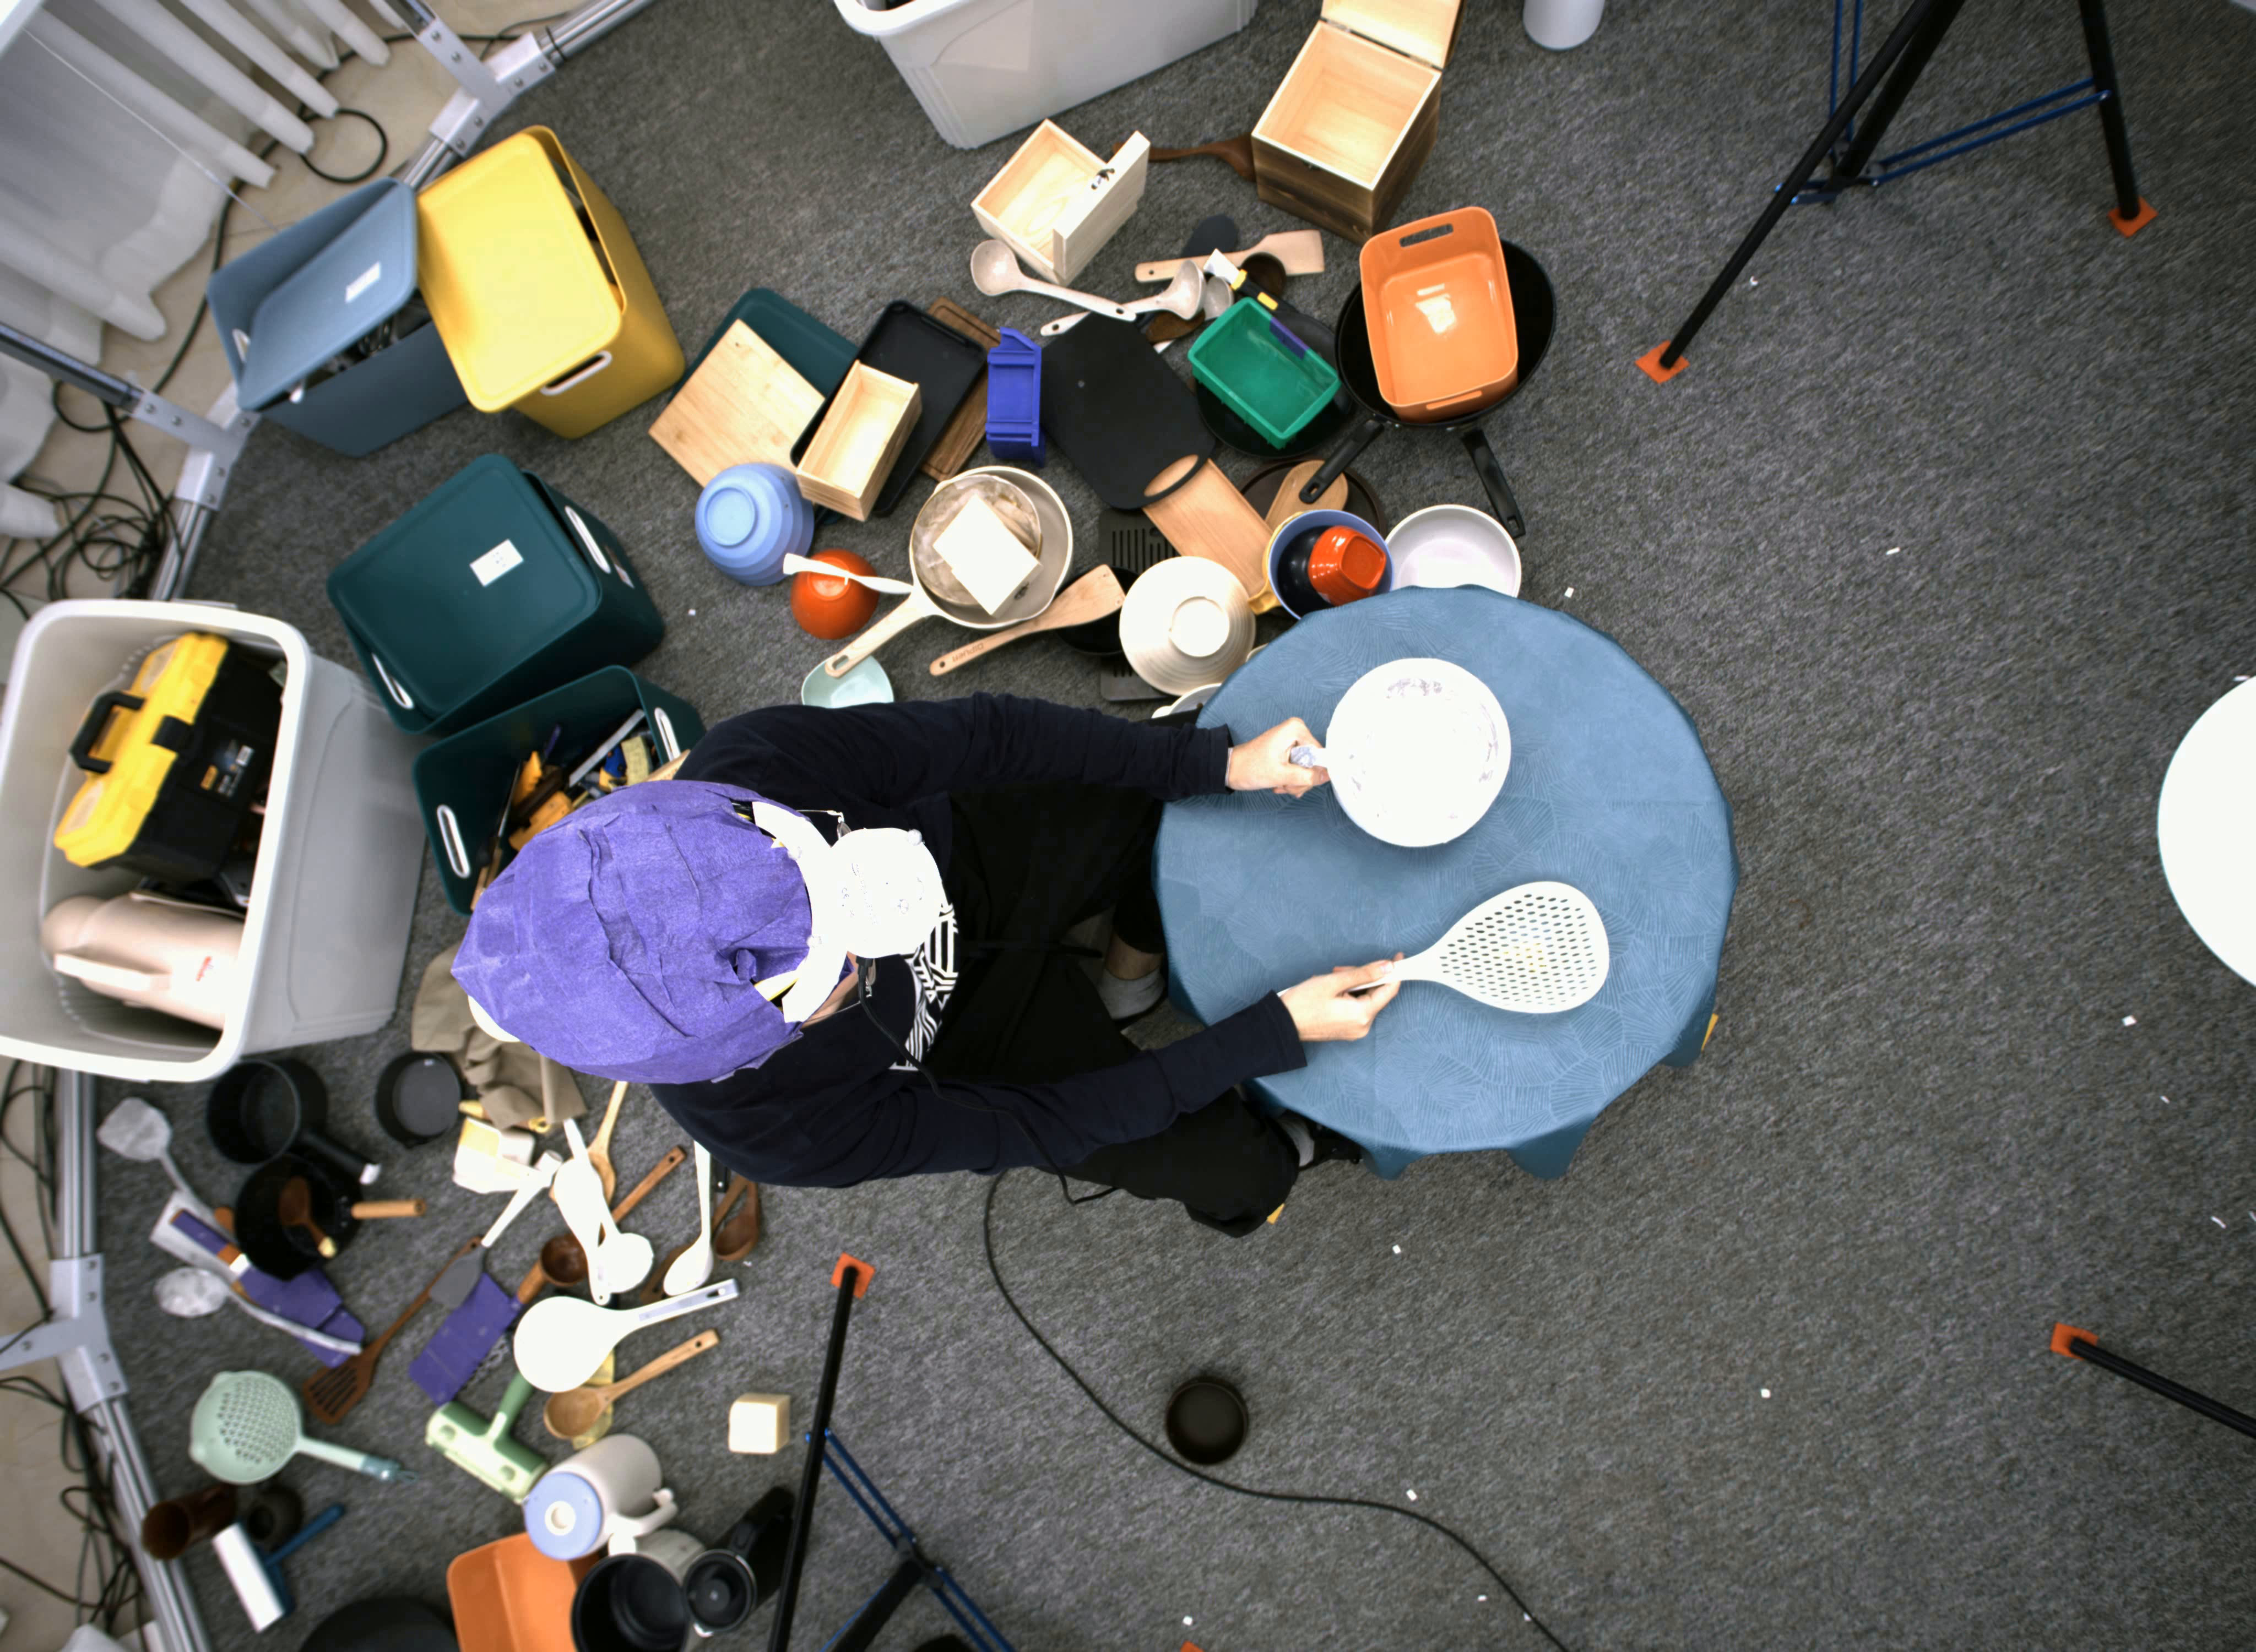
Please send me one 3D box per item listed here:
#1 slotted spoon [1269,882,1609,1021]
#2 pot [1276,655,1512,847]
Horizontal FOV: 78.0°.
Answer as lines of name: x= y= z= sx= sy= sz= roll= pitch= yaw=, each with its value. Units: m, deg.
slotted spoon: x=0.313 y=0.148 z=1.420 sx=0.349 sy=0.051 sz=0.134 roll=-12 pitch=72 yaw=7
pot: x=0.265 y=-0.070 z=1.399 sx=0.235 sy=0.137 sz=0.177 roll=-5 pitch=82 yaw=10
